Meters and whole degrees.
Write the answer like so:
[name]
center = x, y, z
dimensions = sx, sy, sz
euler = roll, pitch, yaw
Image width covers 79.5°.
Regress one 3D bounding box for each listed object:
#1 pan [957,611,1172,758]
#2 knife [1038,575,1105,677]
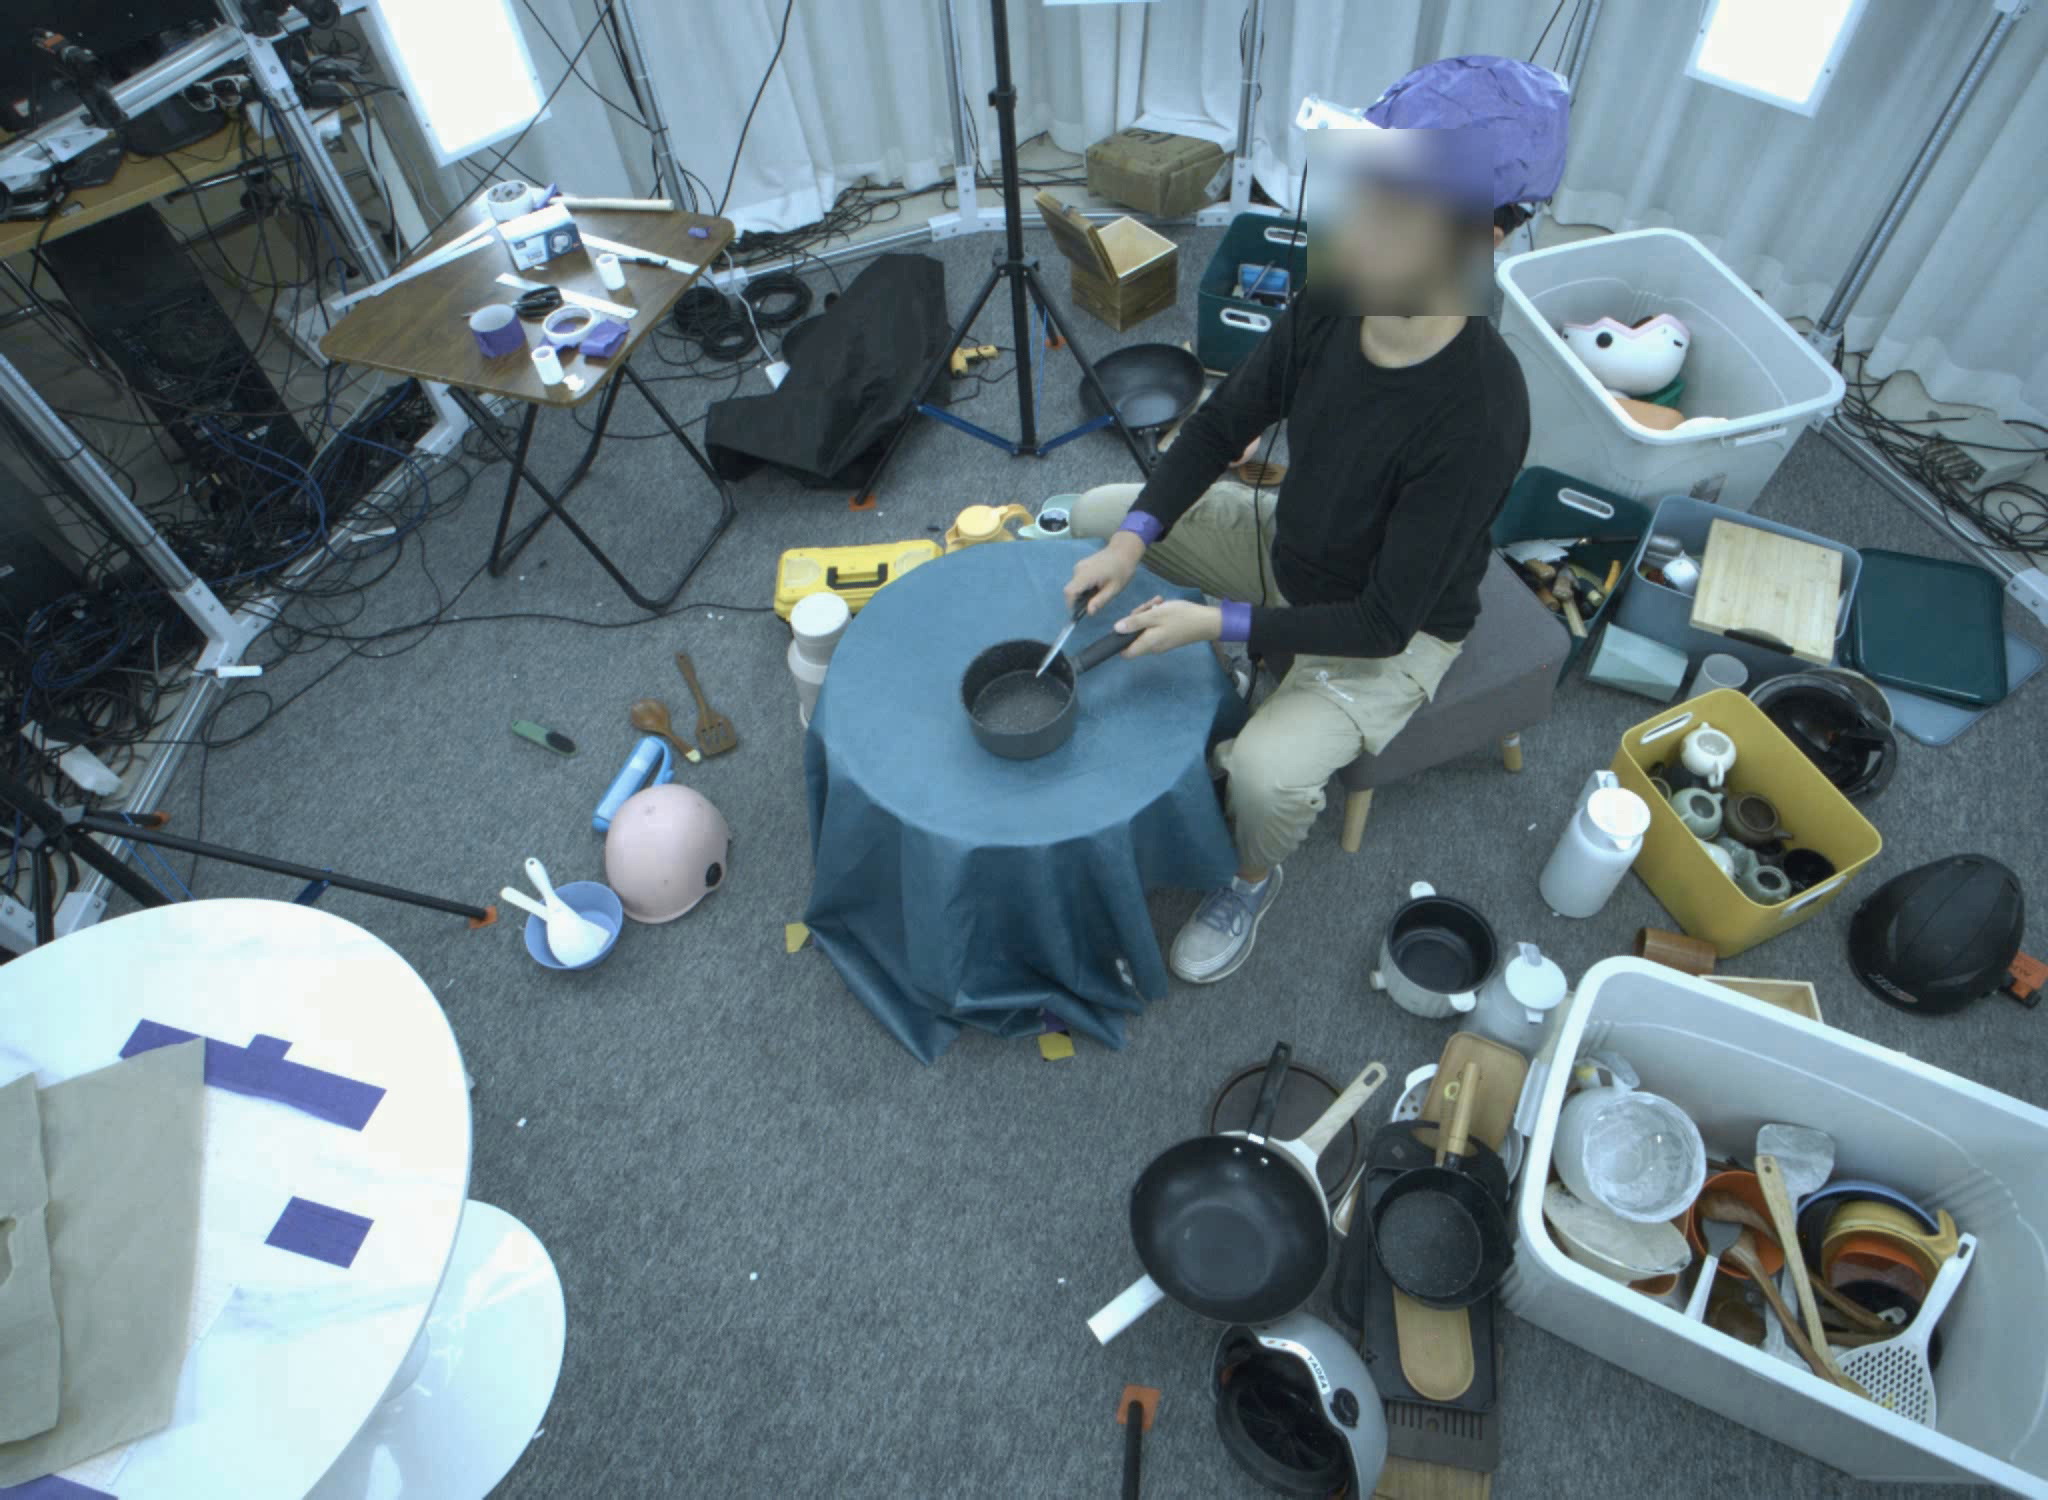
[pan]
center = 0.065, -0.108, 1.793
dimensions = 0.330, 0.087, 0.169
euler = -24, 59, -8
[knife]
center = 0.067, -0.182, 1.803
dimensions = 0.024, 0.016, 0.238
euler = -11, 35, 41
